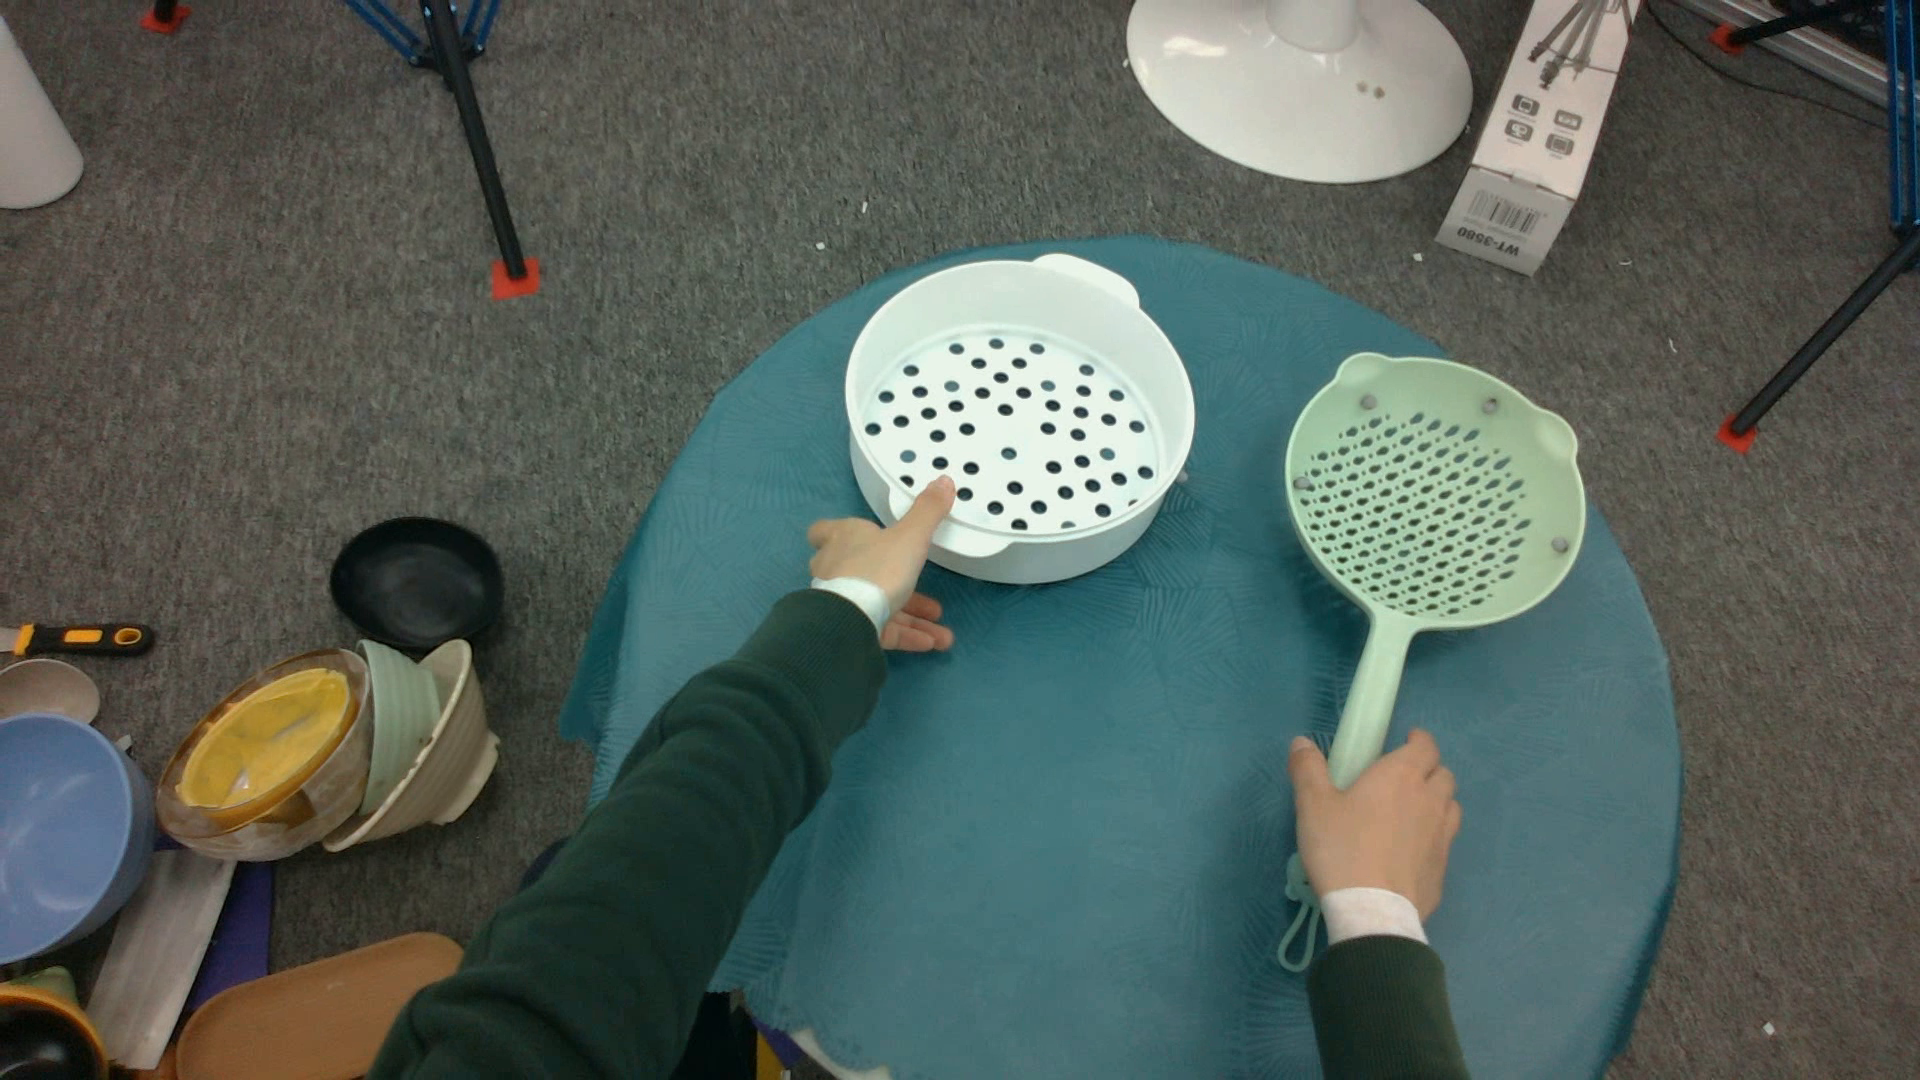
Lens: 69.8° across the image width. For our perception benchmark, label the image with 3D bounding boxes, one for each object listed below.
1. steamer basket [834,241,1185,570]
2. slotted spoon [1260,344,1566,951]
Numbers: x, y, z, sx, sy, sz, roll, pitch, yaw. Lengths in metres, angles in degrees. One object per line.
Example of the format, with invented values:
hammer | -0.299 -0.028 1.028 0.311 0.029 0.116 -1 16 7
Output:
steamer basket | 0.027 -0.077 0.812 0.202 0.069 0.231 23 58 8
slotted spoon | 0.226 0.050 0.757 0.169 0.075 0.360 20 58 8
